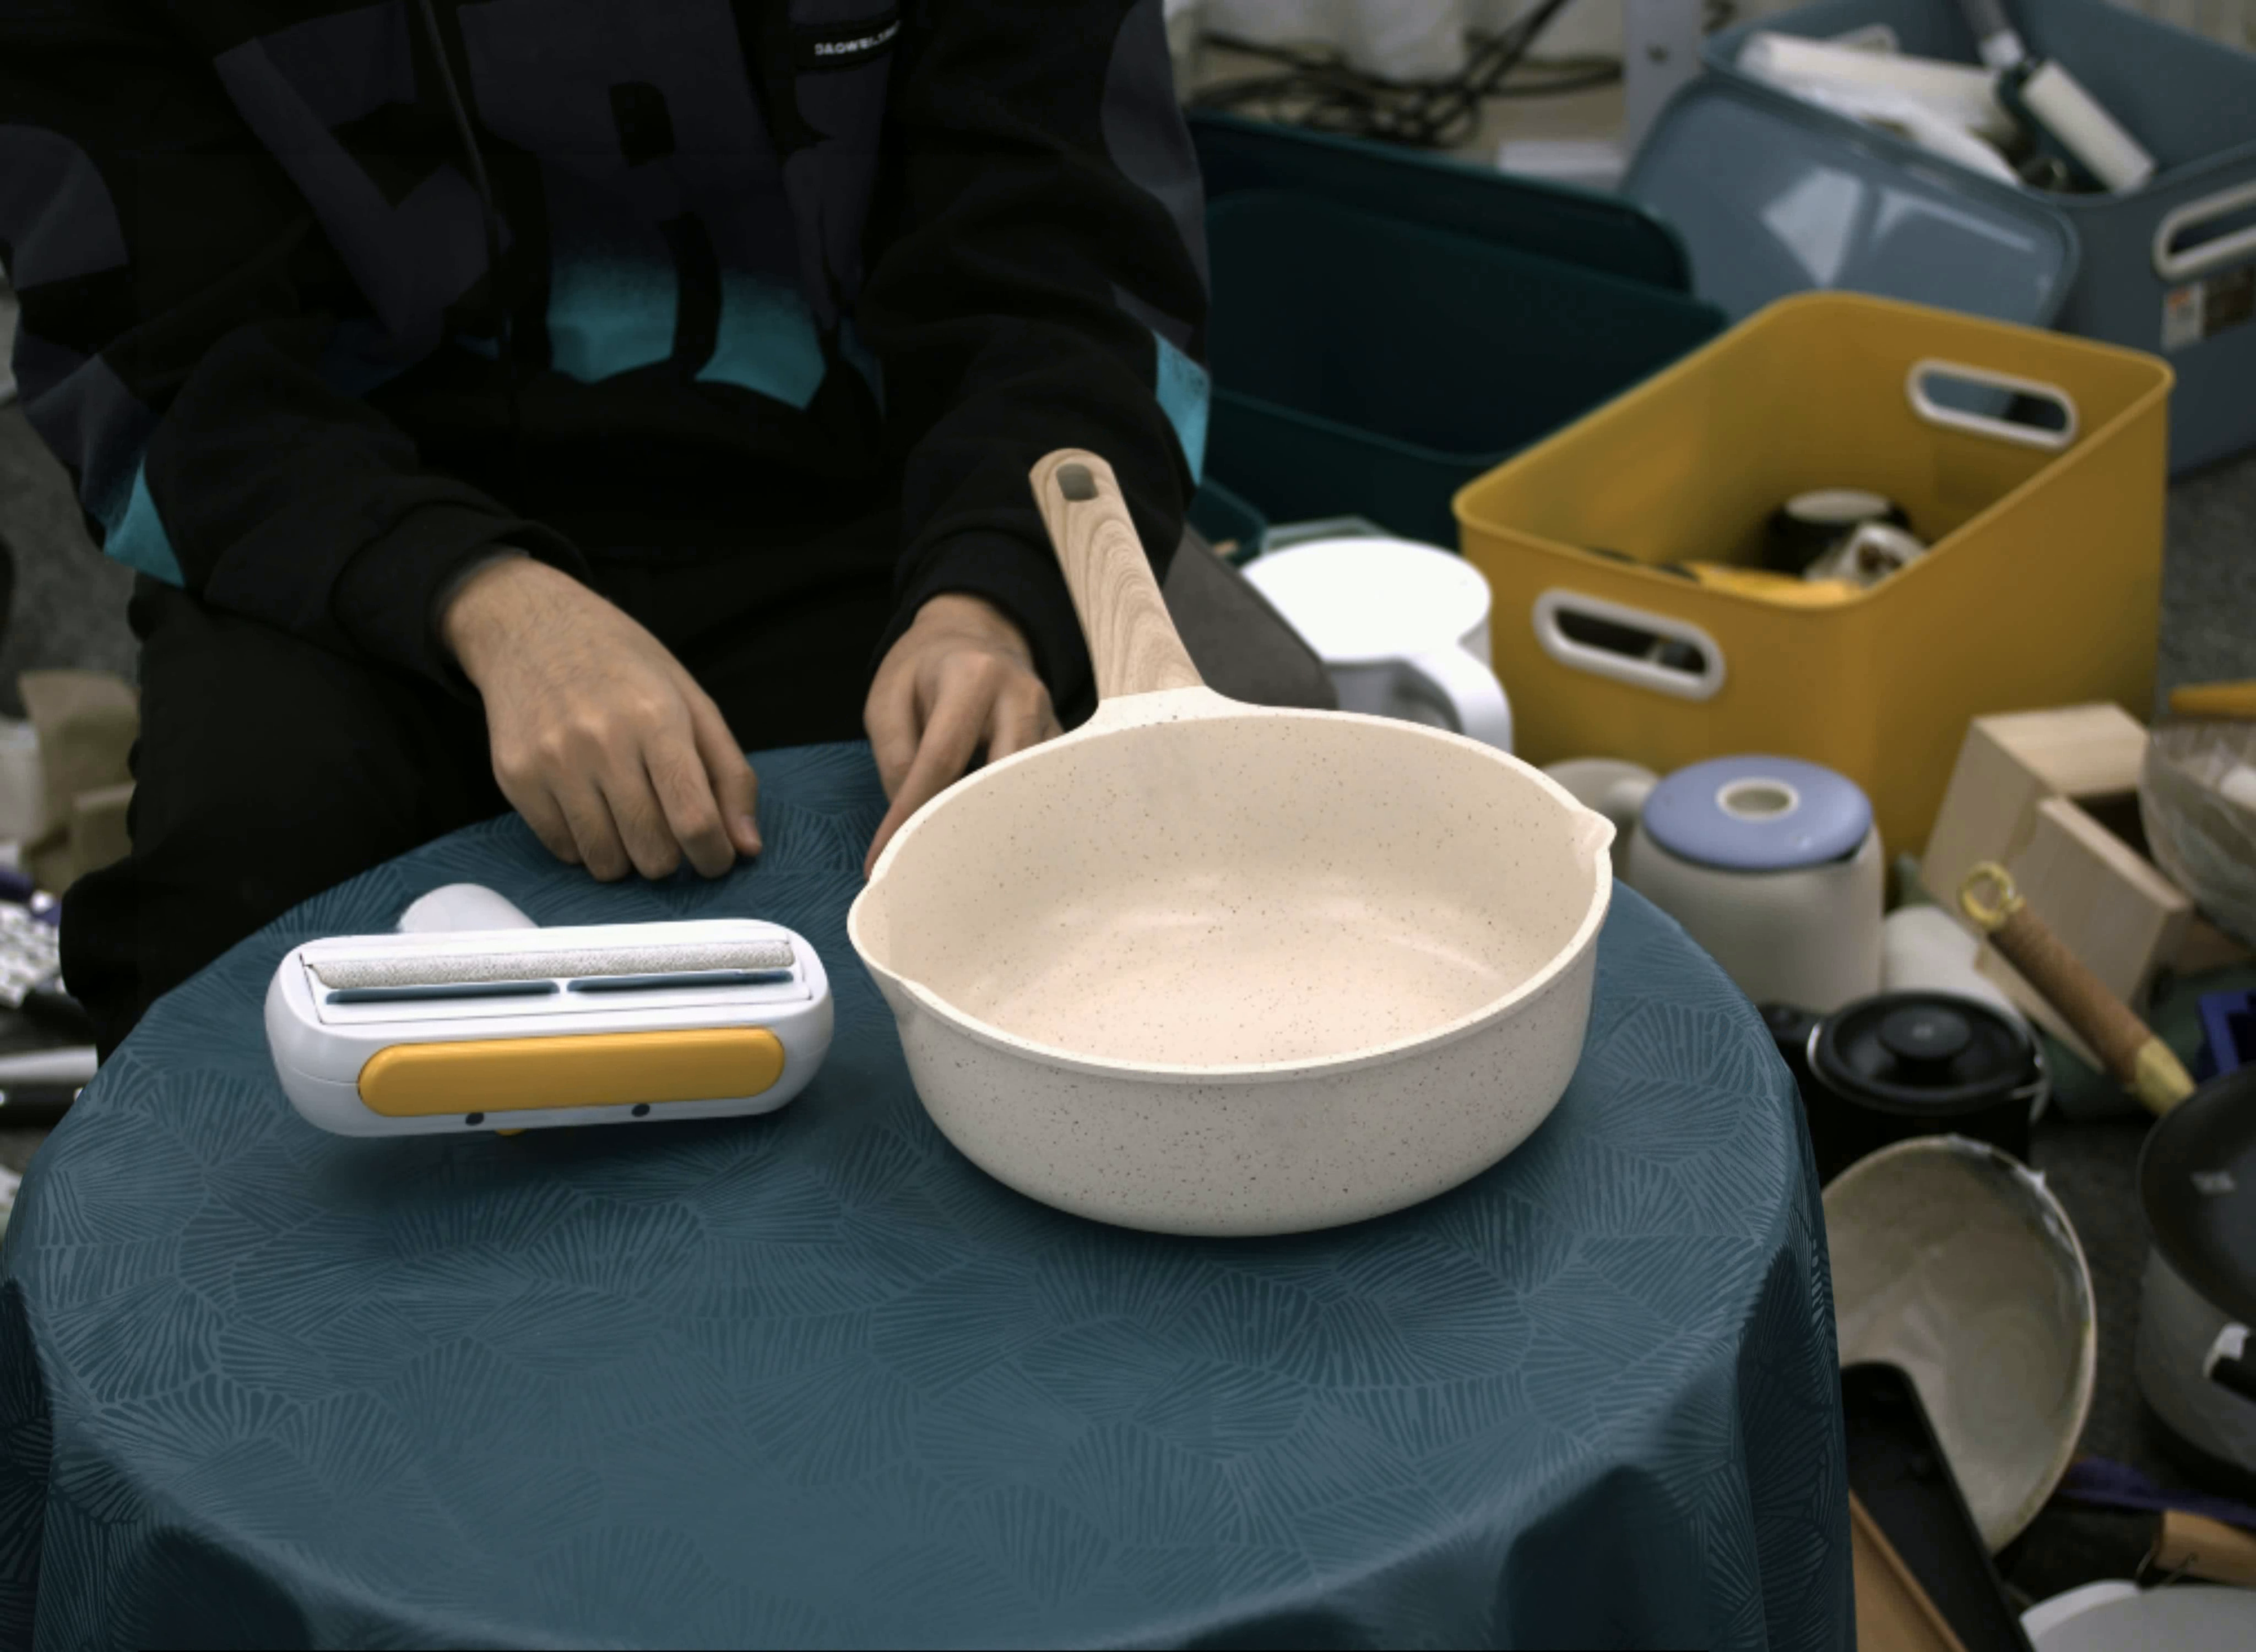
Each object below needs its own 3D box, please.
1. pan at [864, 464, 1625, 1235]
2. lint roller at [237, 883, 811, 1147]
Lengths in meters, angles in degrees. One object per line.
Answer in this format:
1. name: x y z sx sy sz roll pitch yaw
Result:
1. pan: 0.024 0.004 1.978 0.263 0.101 0.440 -10 28 -8
2. lint roller: -0.217 0.051 1.945 0.193 0.073 0.194 -4 25 -15
